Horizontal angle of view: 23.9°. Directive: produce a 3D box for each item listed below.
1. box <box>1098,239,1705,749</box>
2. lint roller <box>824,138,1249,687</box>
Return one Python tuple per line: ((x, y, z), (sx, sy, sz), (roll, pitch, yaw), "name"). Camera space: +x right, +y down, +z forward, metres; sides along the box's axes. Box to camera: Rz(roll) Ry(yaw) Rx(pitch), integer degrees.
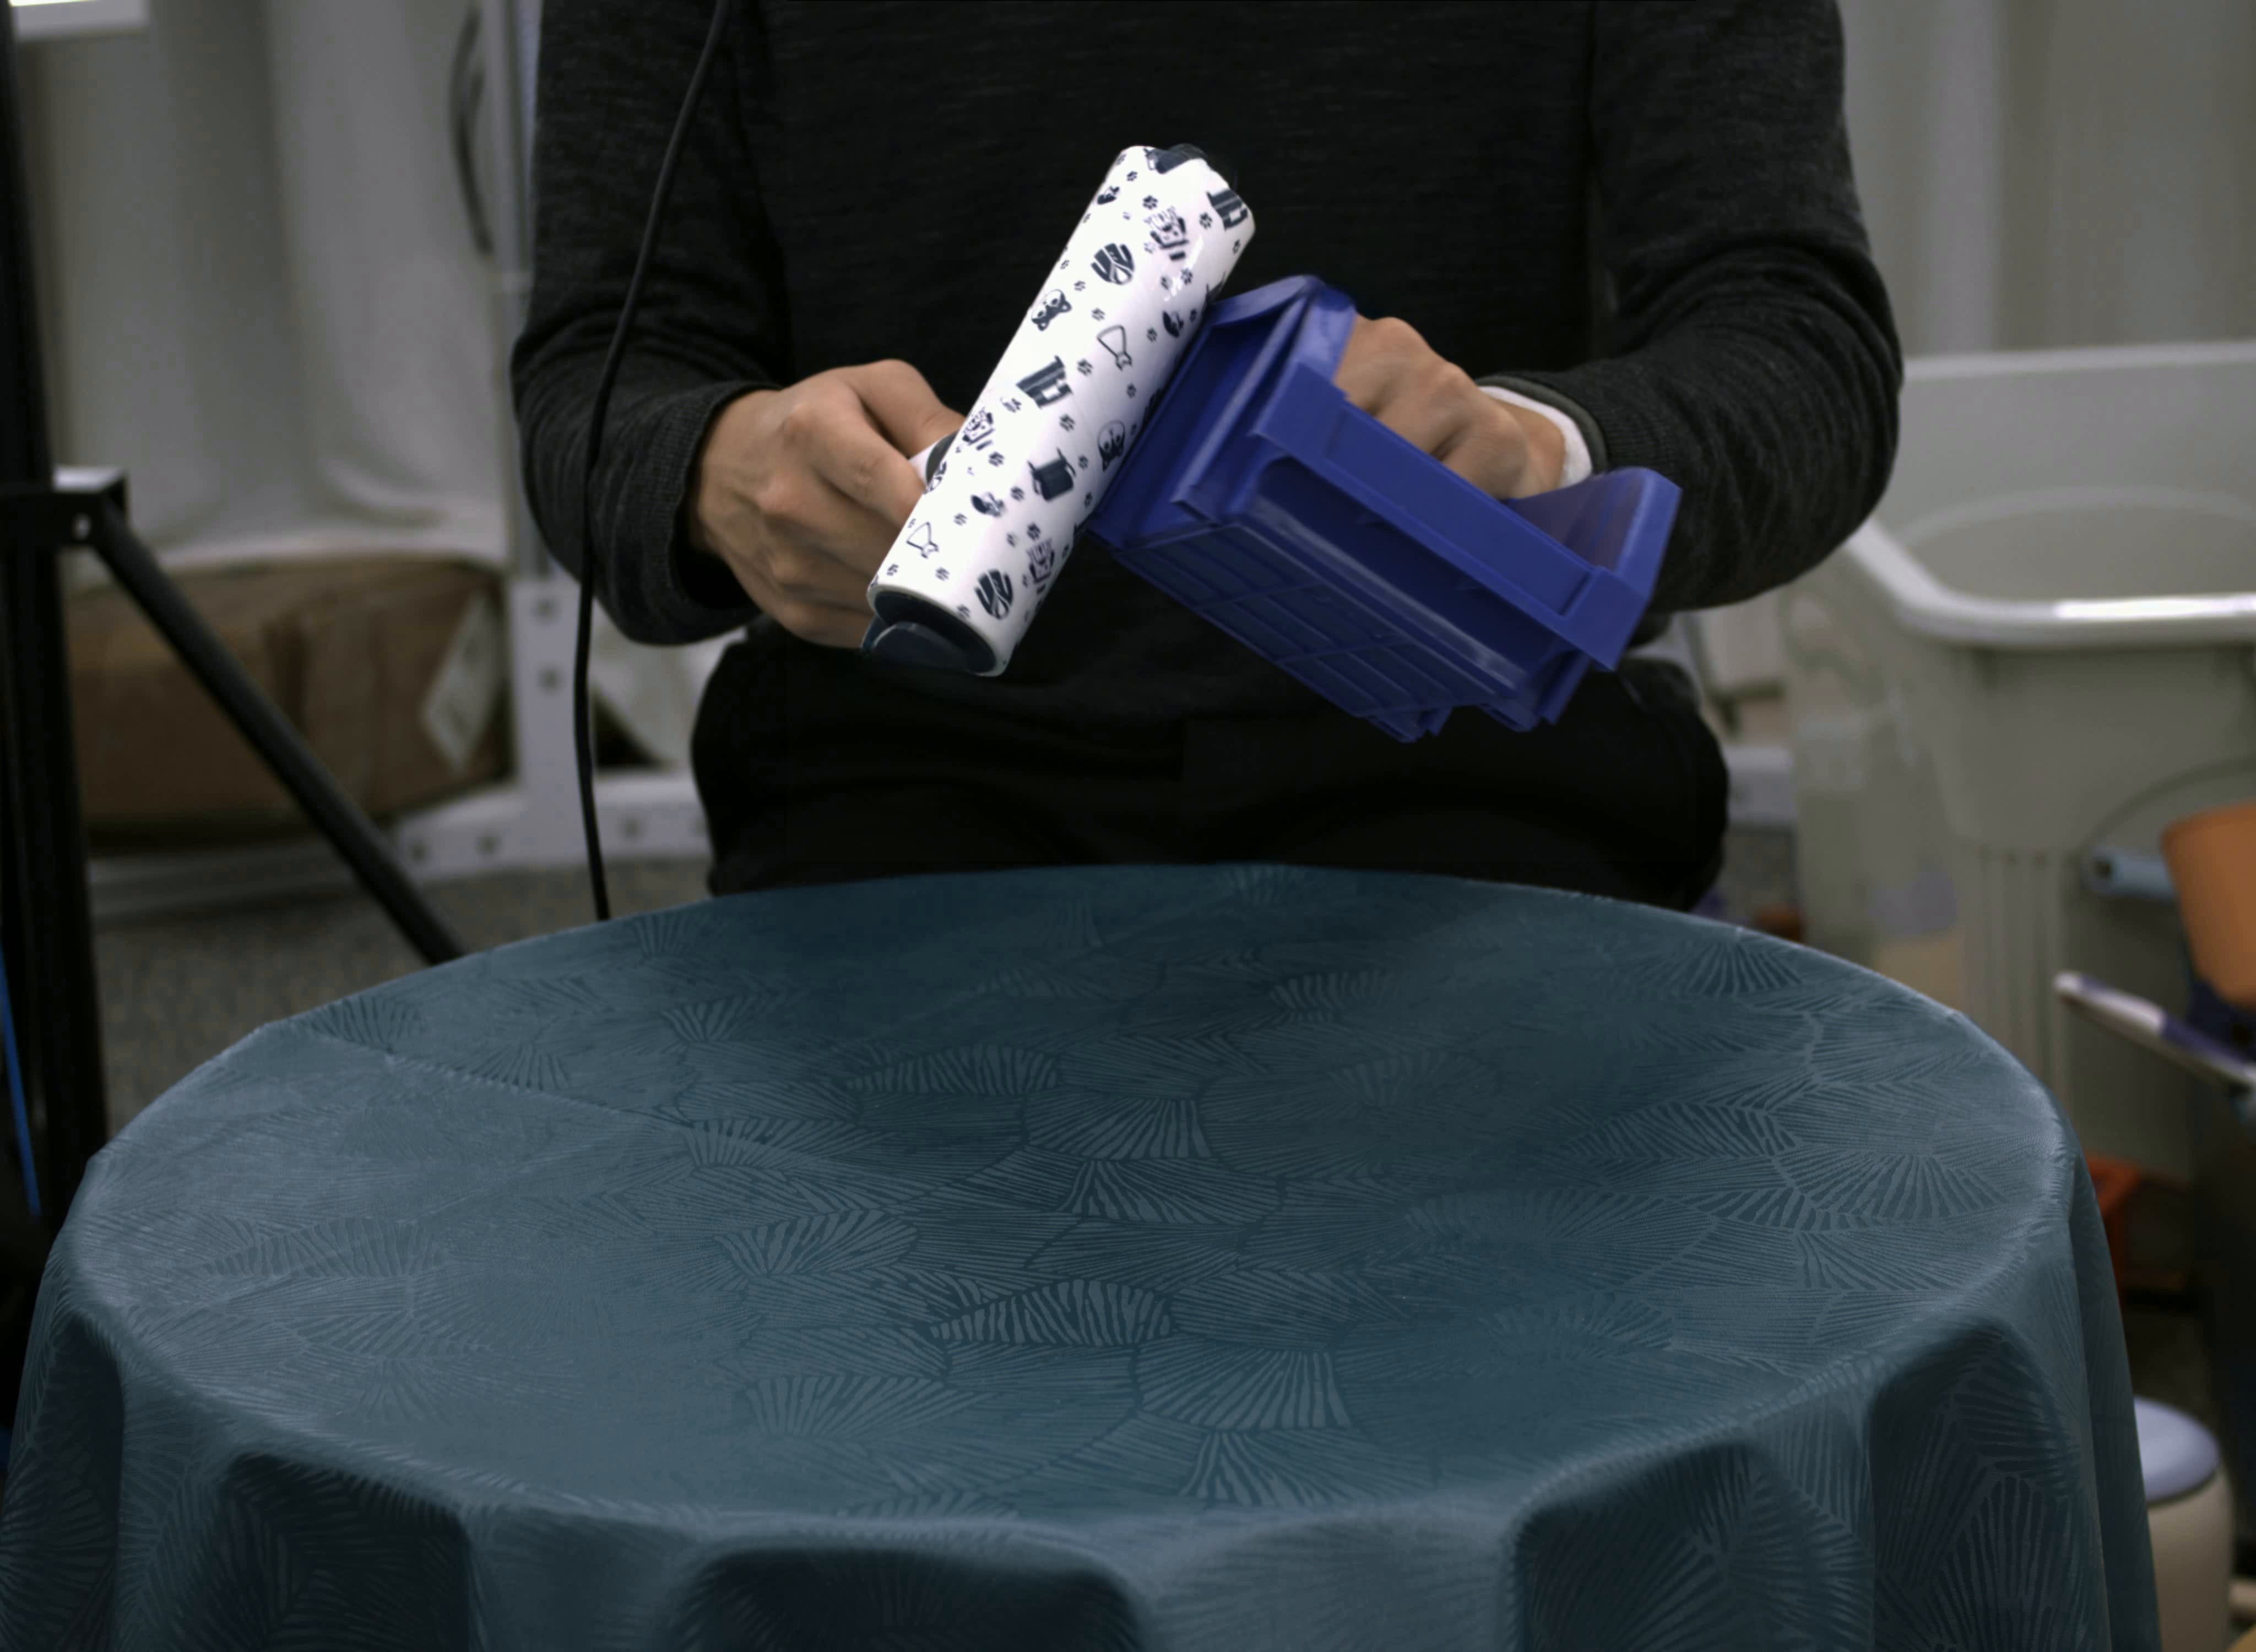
((0.079, -0.091, 1.514), (0.123, 0.082, 0.181), (34, -12, -11), "box")
((-0.056, -0.108, 1.661), (0.050, 0.176, 0.250), (33, -19, -14), "lint roller")
